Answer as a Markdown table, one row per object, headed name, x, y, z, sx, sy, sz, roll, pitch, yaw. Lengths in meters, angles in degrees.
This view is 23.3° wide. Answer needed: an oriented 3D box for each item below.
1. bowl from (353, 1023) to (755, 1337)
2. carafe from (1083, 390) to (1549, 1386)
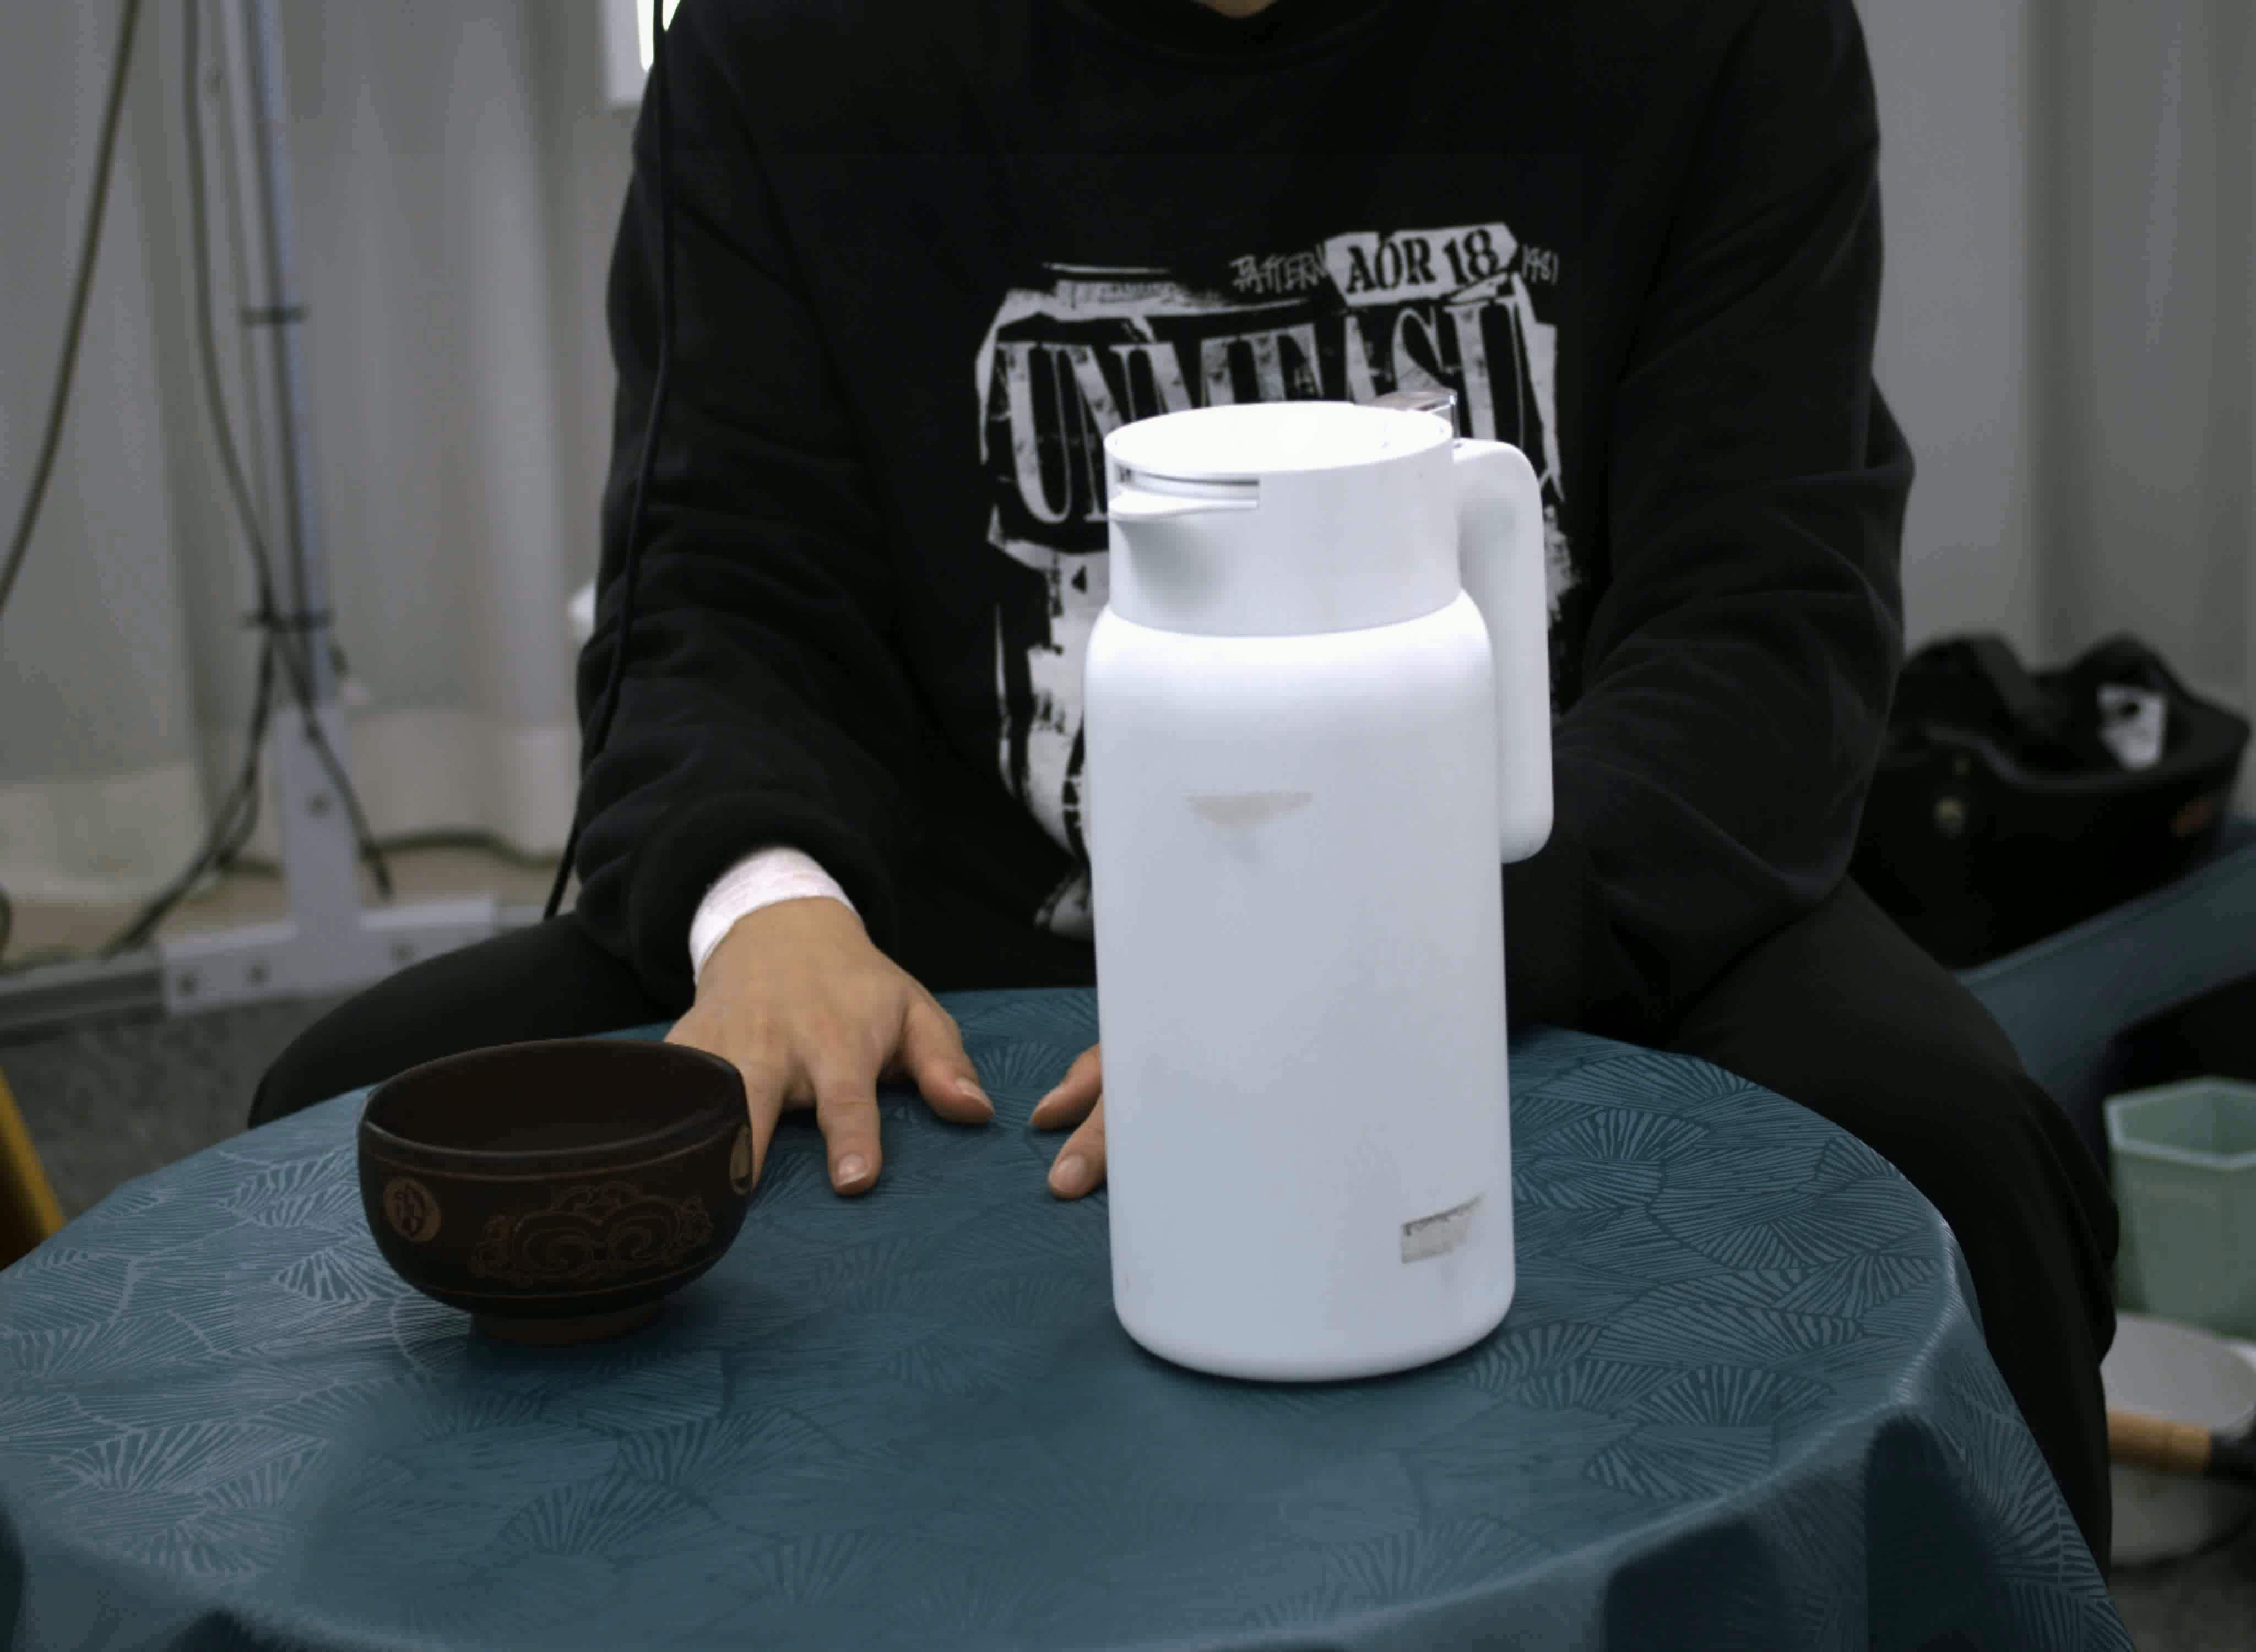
| name | x | y | z | sx | sy | sz | roll | pitch | yaw |
| --- | --- | --- | --- | --- | --- | --- | --- | --- | --- |
| bowl | -0.168 | 0.109 | 1.623 | 0.117 | 0.069 | 0.119 | -3 | 16 | 1 |
| carafe | 0.059 | 0.013 | 1.571 | 0.124 | 0.268 | 0.172 | 6 | 16 | 40 |
